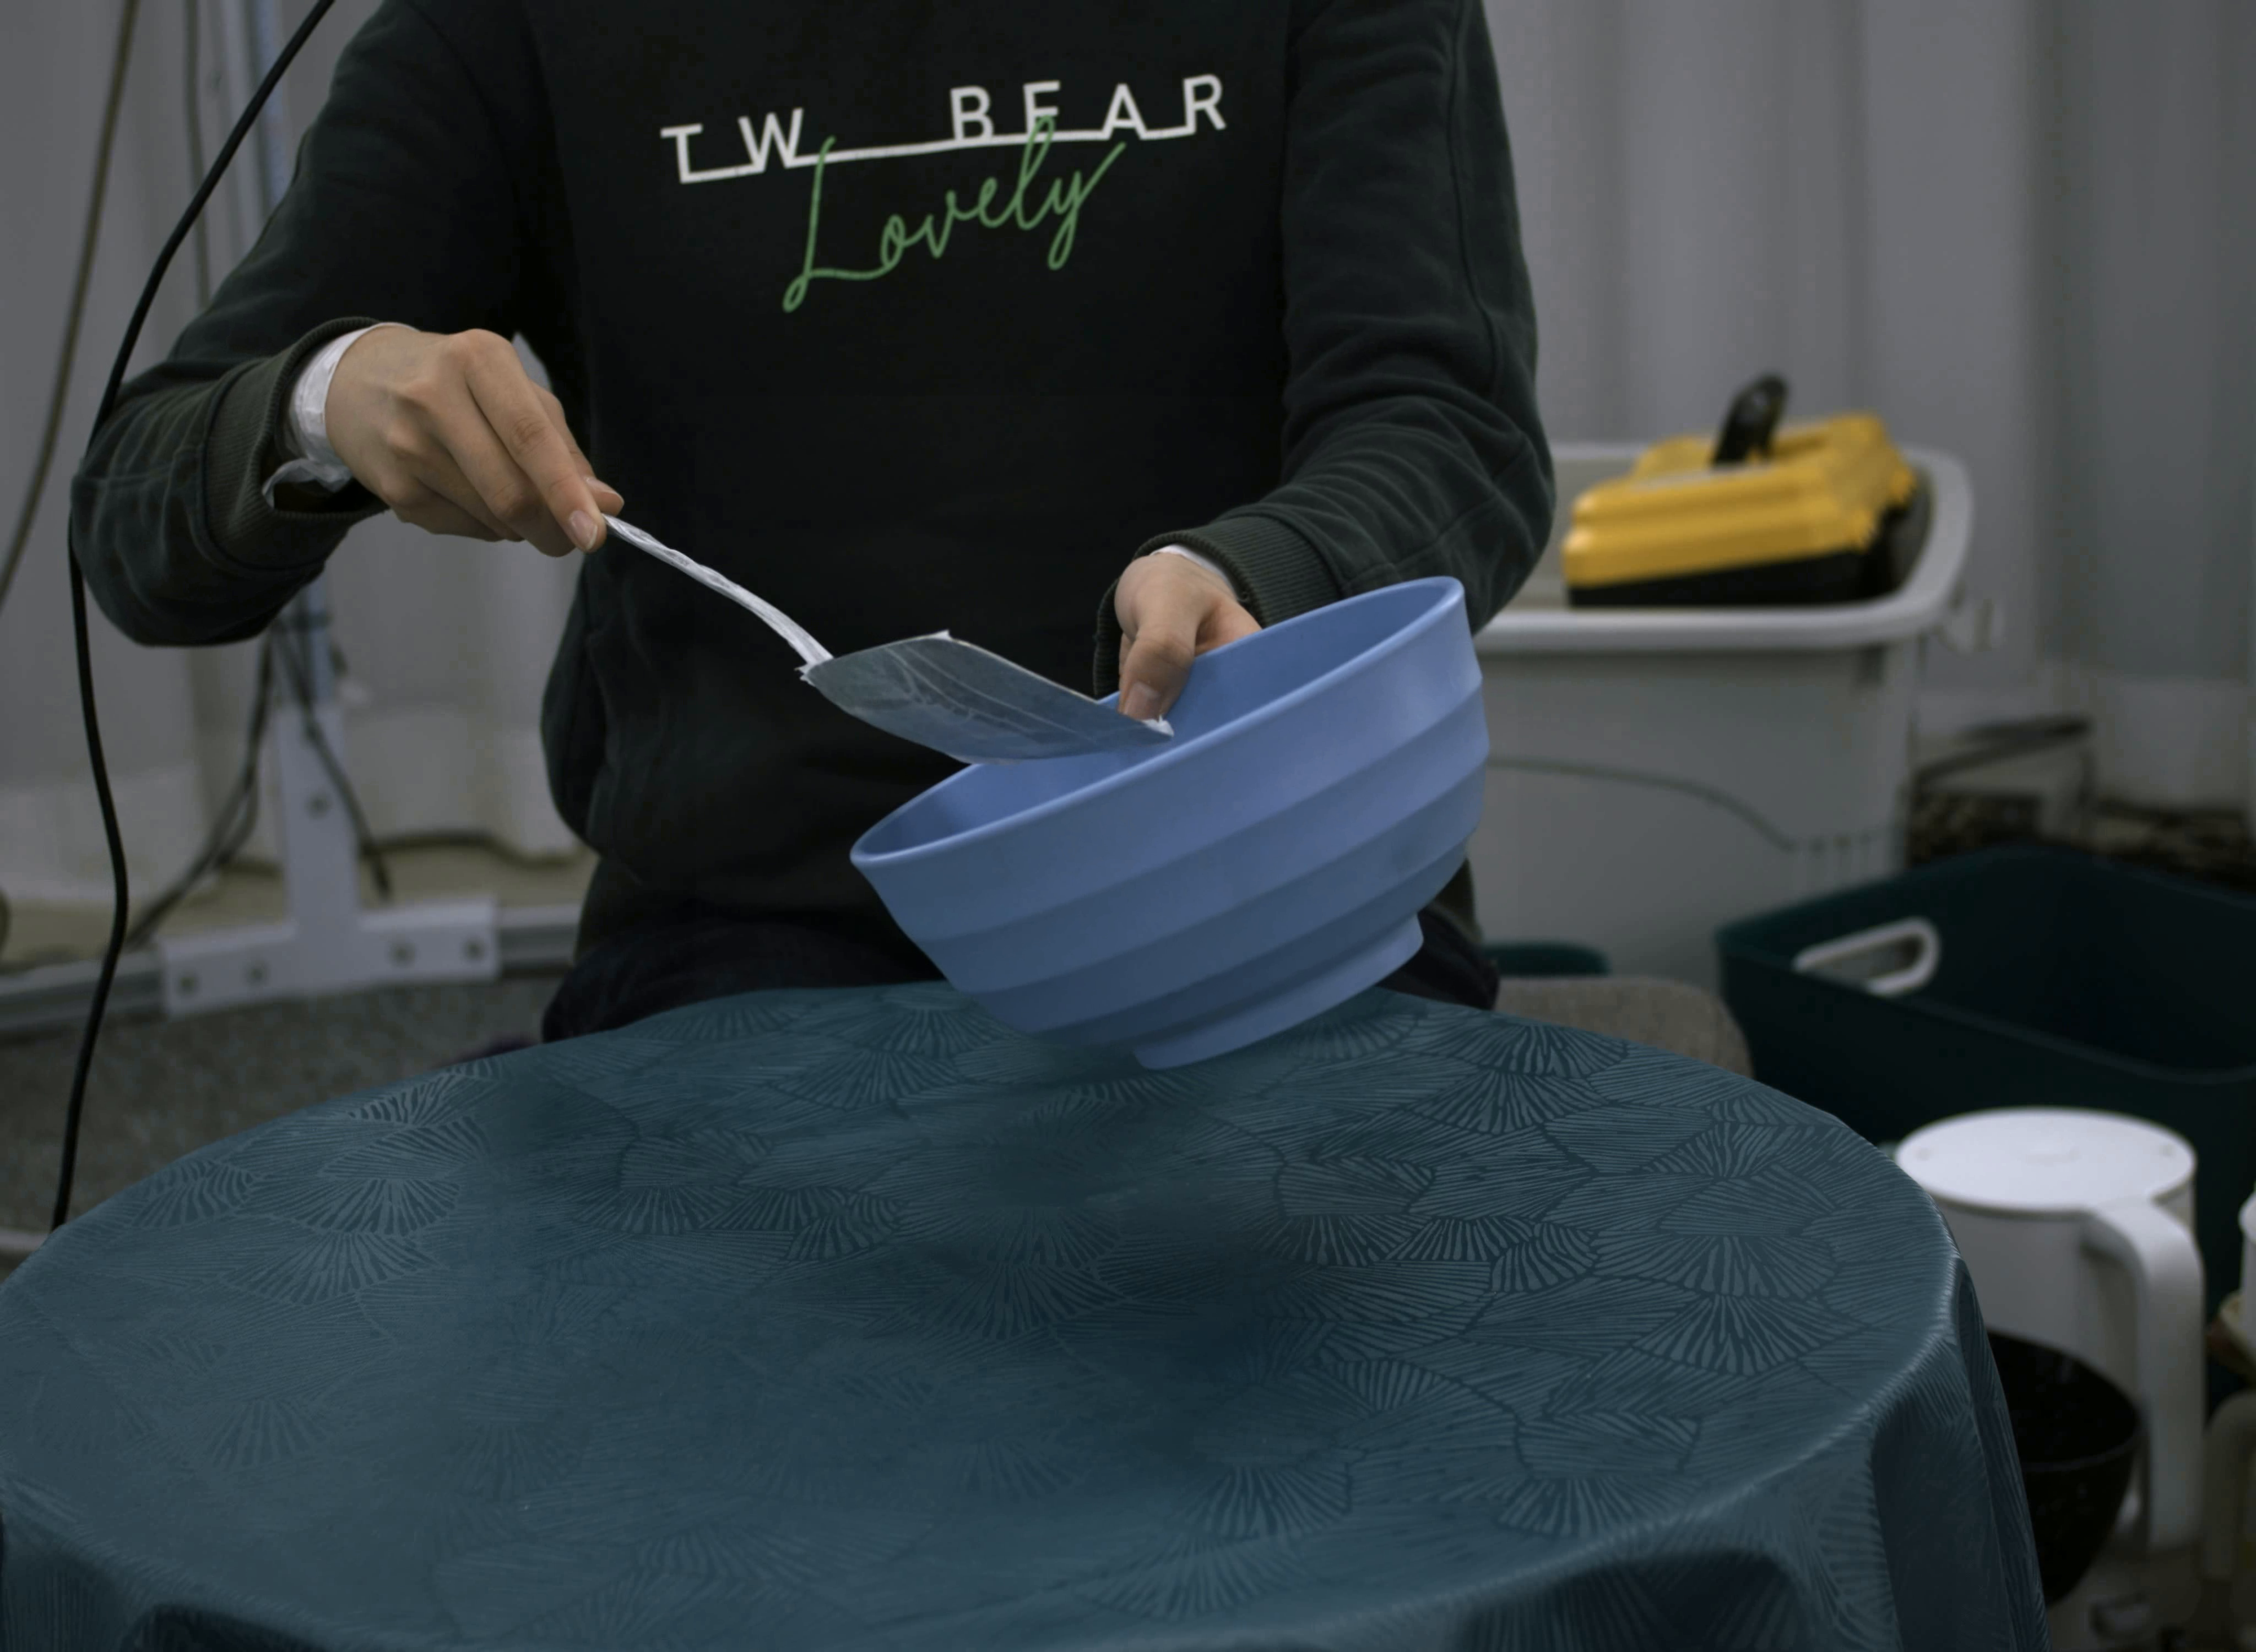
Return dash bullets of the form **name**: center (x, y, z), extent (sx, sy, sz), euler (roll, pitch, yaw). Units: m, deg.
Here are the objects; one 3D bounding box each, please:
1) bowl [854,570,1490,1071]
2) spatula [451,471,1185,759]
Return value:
- **bowl**: center (0.027, 0.009, 1.604), extent (0.196, 0.095, 0.197), euler (-25, 7, 3)
- **spatula**: center (-0.119, -0.077, 1.705), extent (0.097, 0.045, 0.368), euler (21, 5, -40)
